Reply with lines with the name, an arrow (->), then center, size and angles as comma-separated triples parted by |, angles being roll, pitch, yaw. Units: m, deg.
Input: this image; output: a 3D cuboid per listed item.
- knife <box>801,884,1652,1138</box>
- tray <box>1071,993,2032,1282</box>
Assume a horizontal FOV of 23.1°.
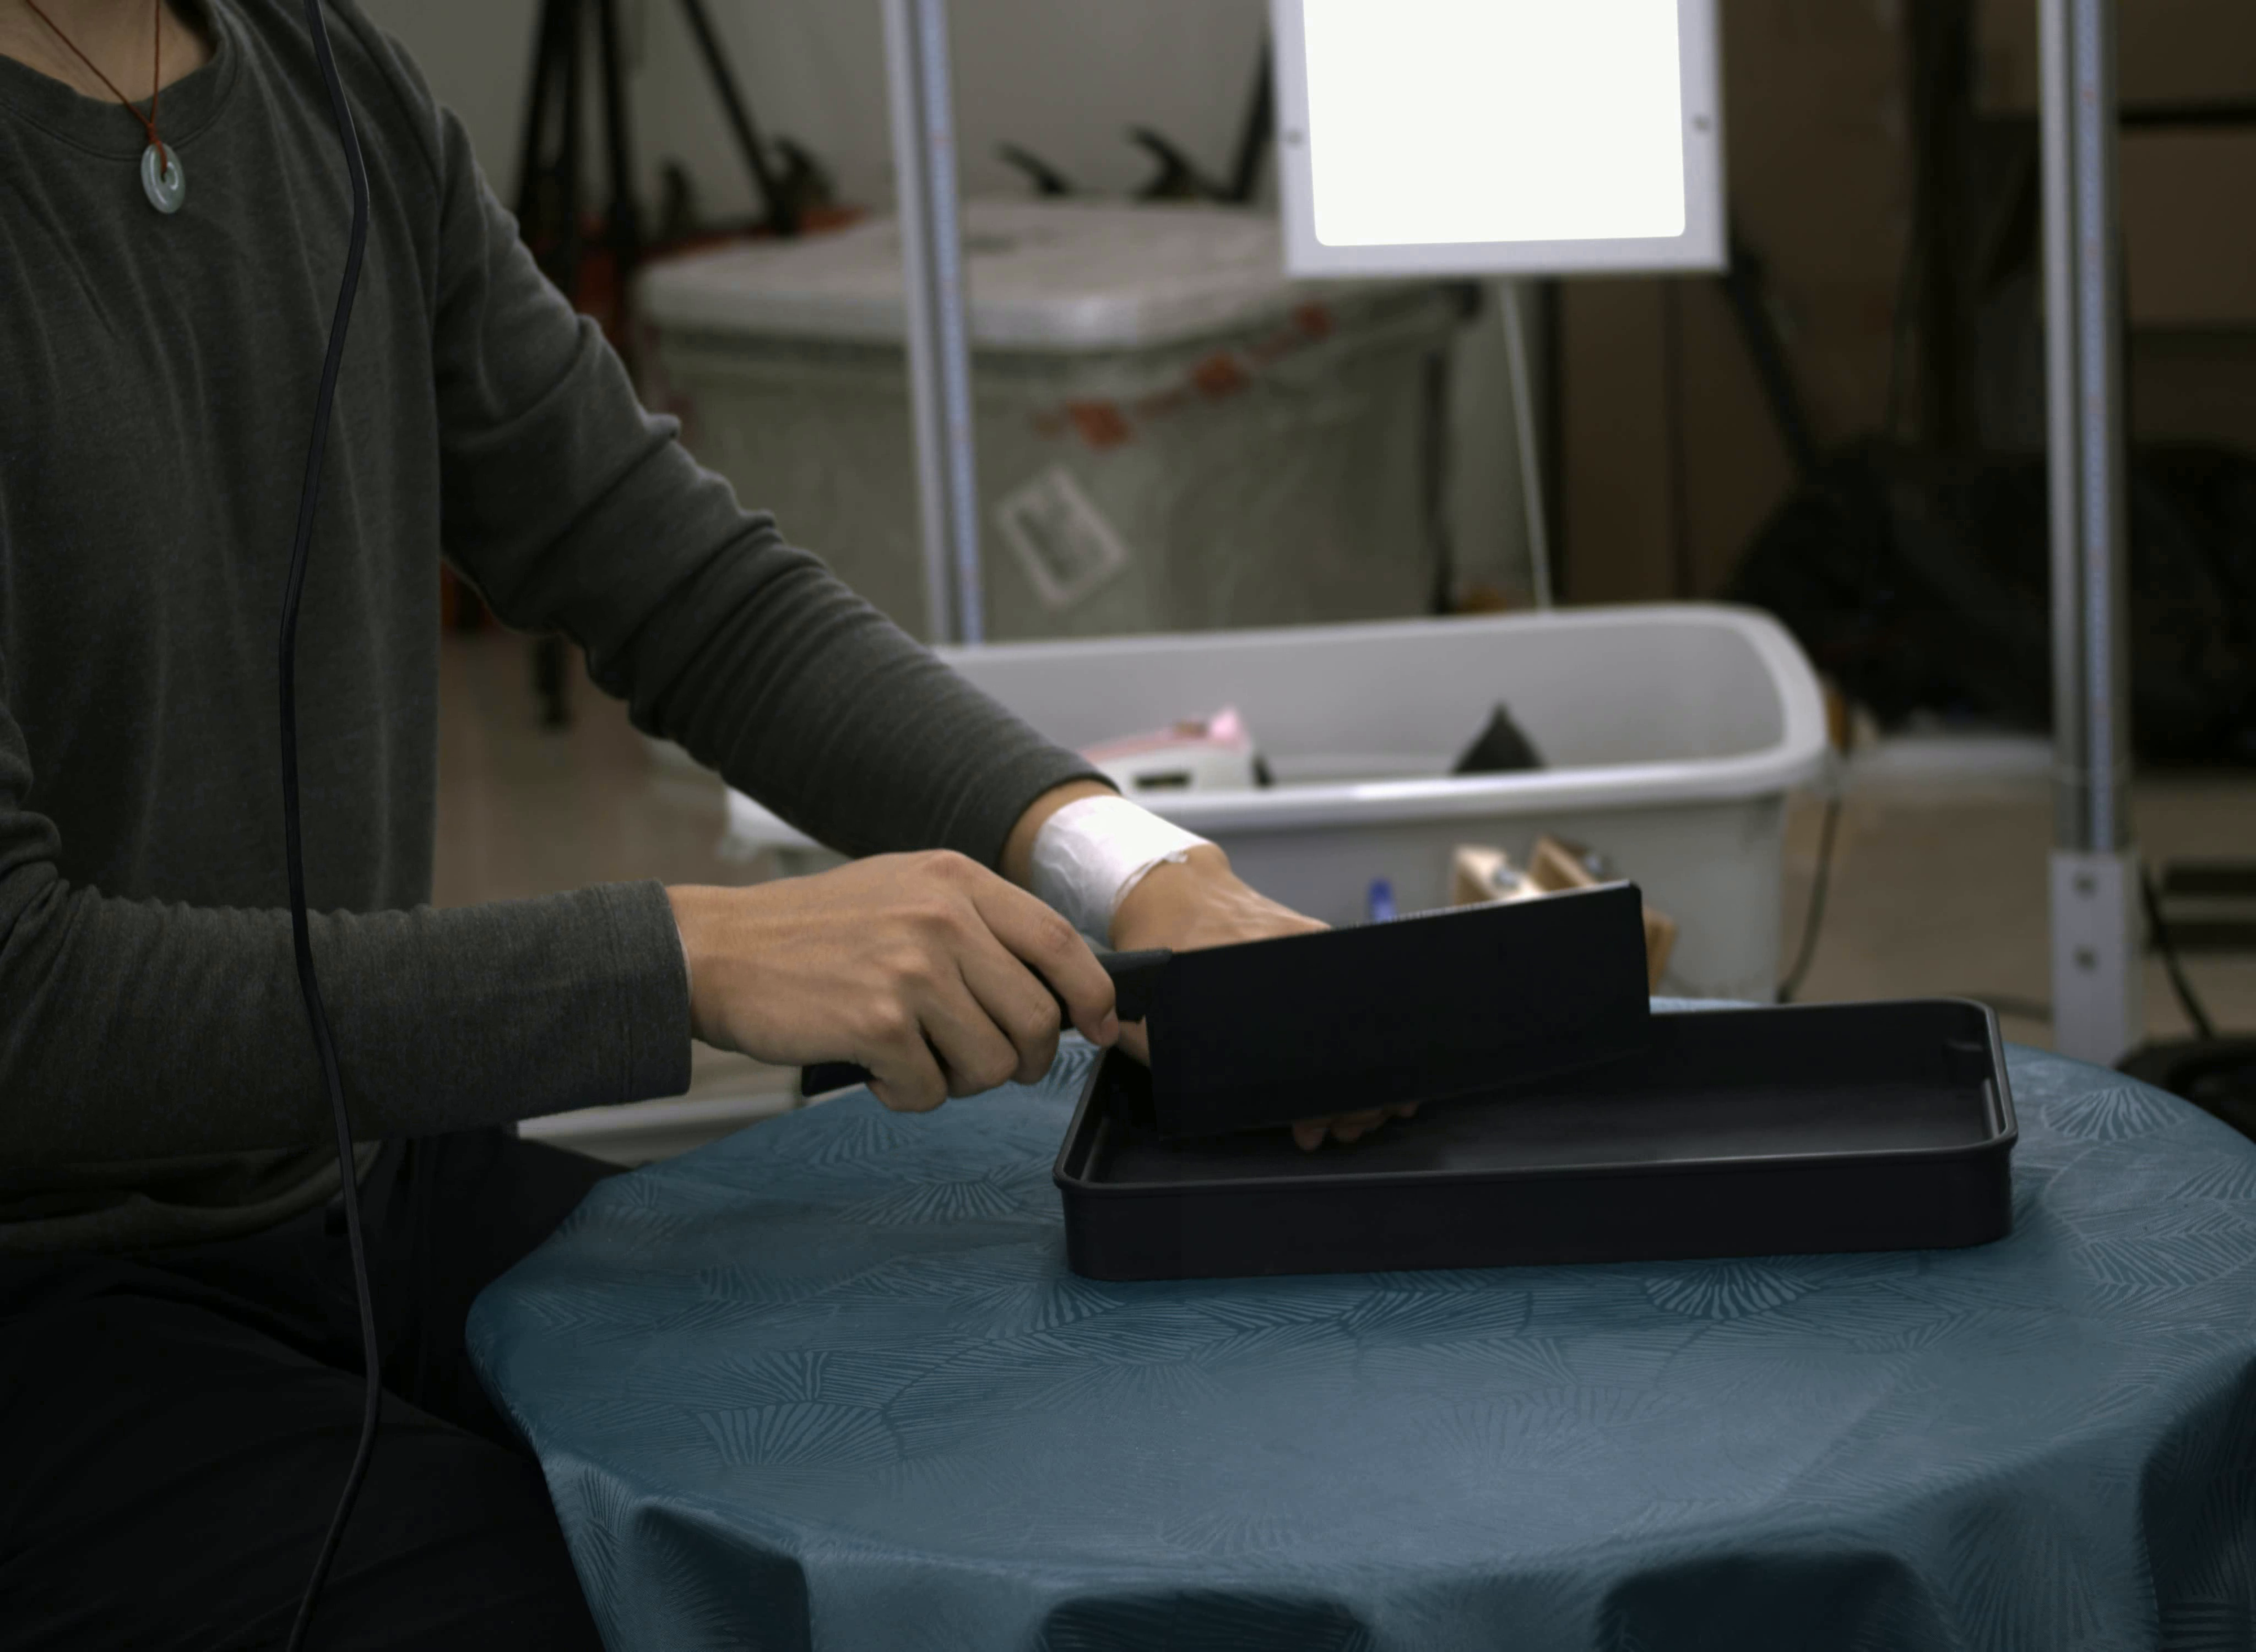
knife -> 0.037, 0.068, 1.886 | 0.299, 0.081, 0.021 | -4, 11, -10
tray -> 0.145, 0.104, 1.865 | 0.319, 0.037, 0.183 | -3, 13, 7
